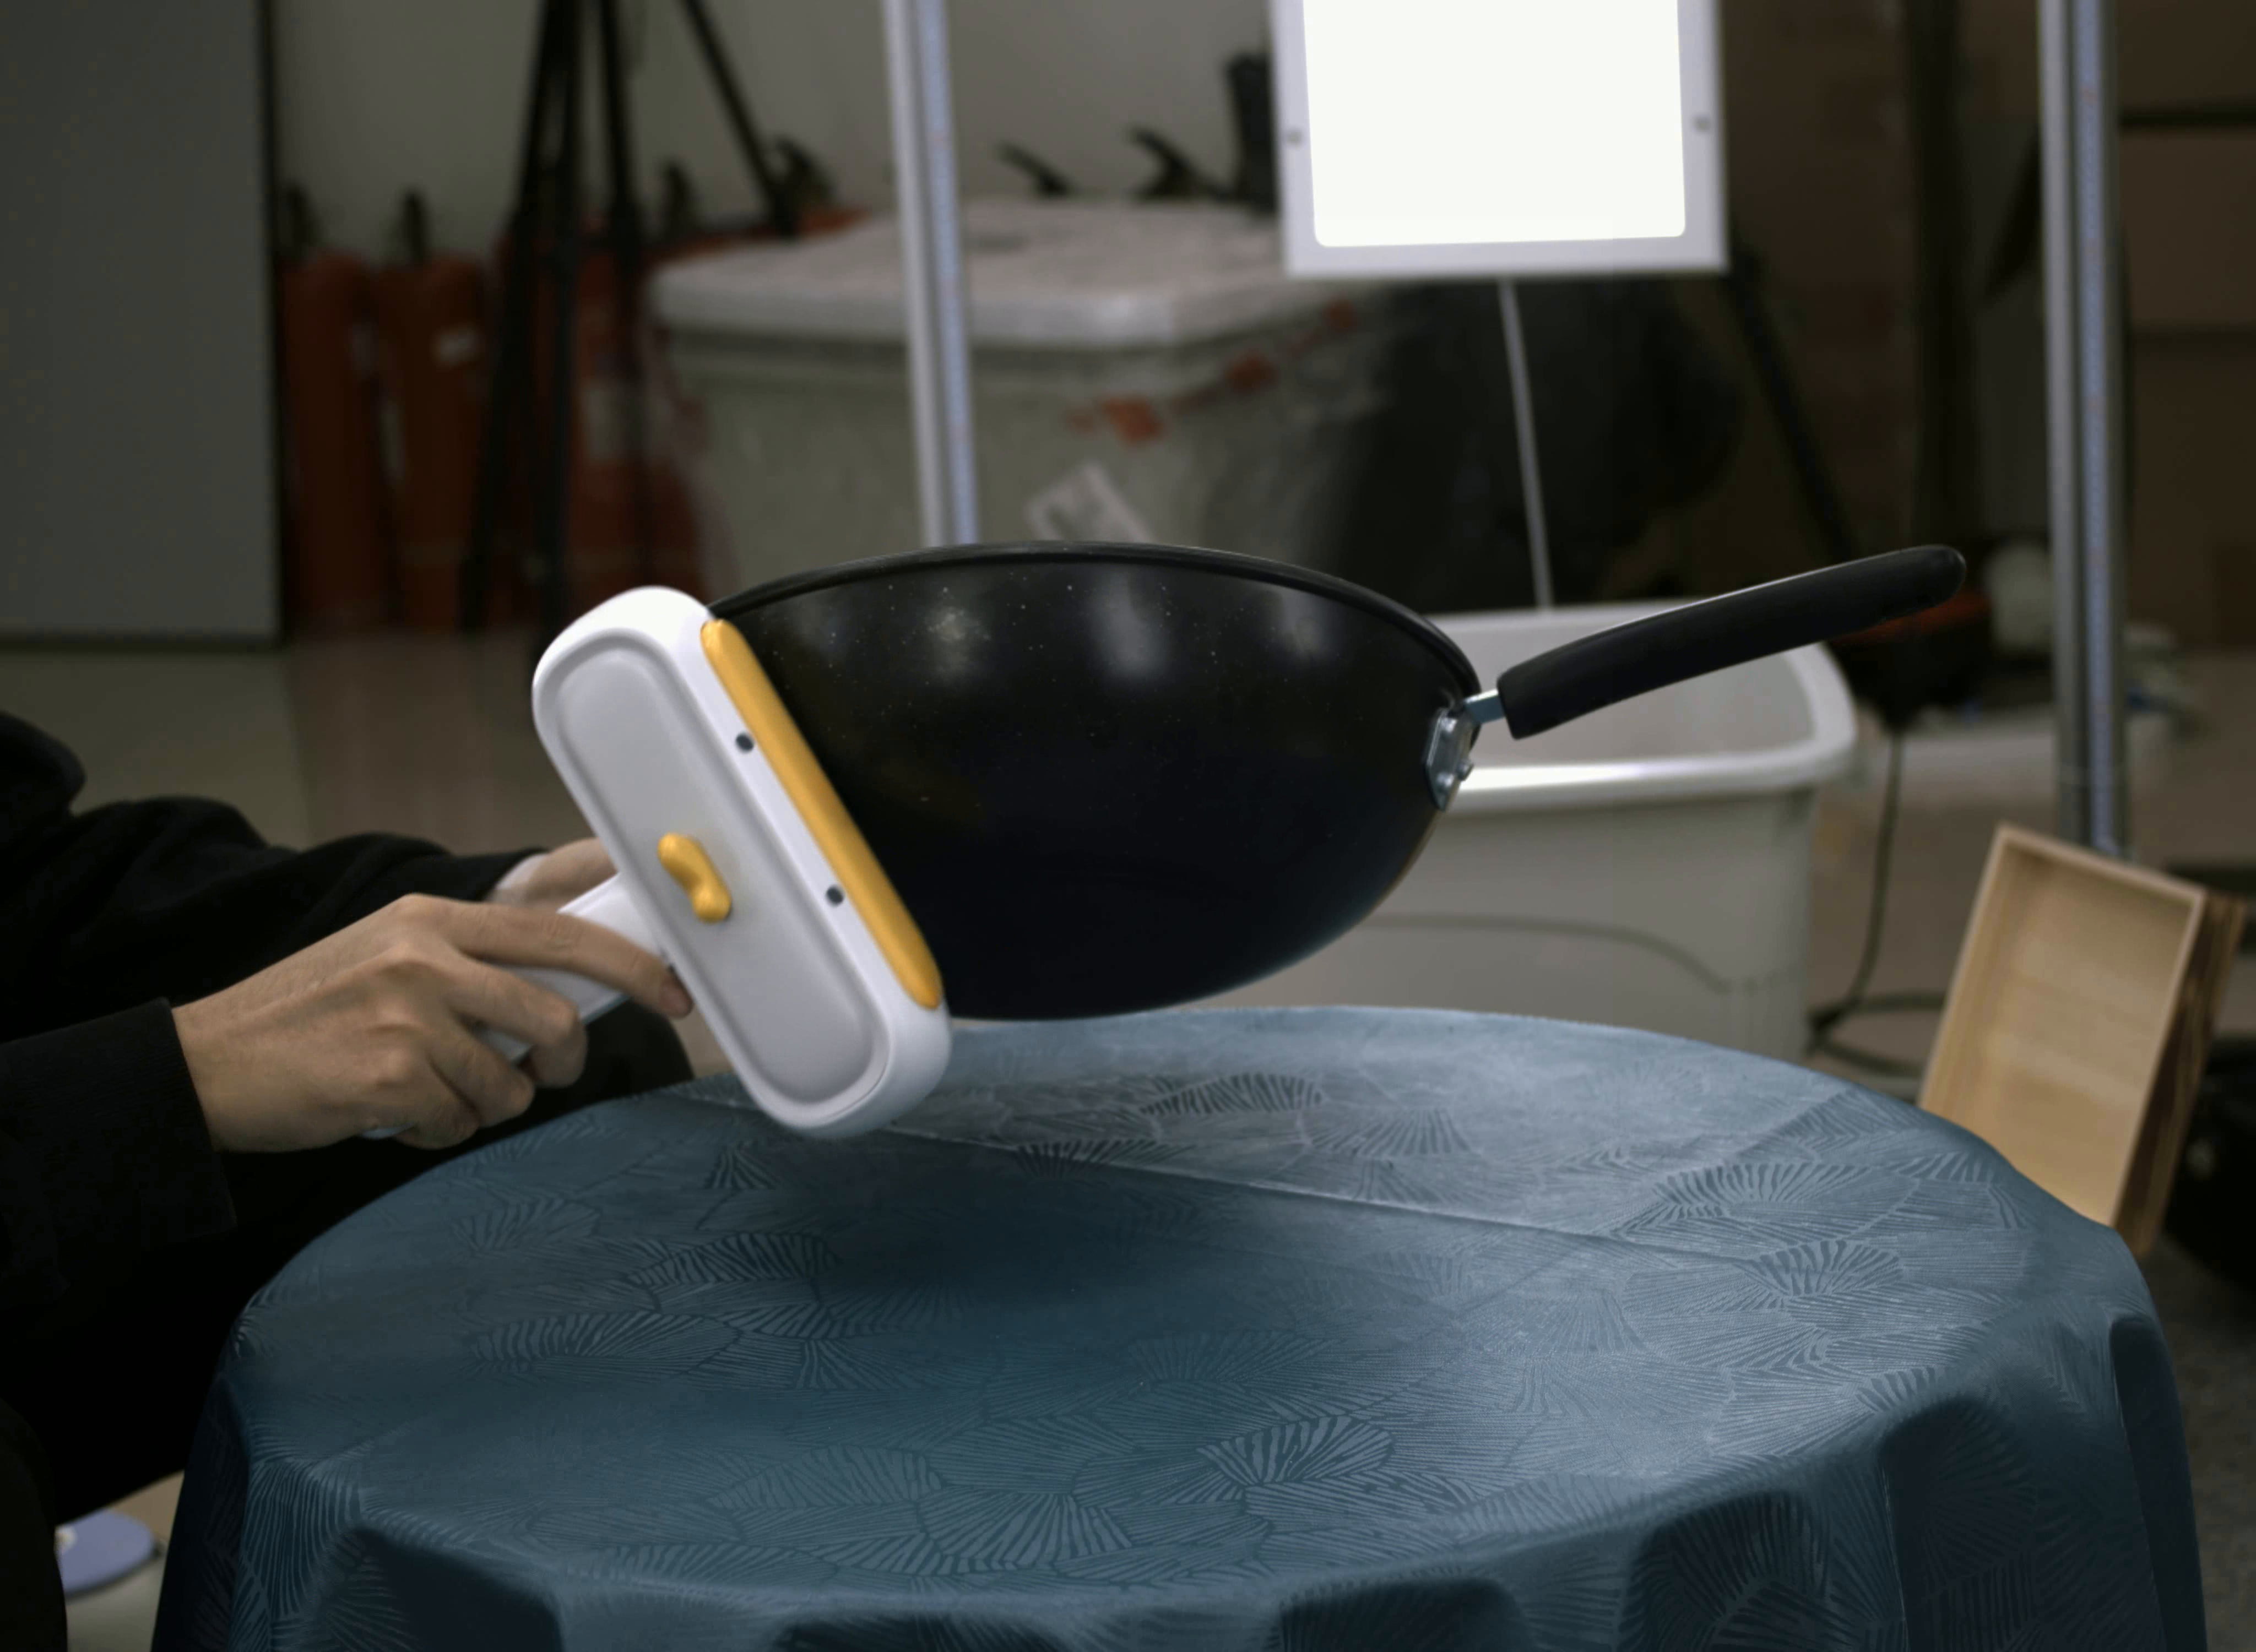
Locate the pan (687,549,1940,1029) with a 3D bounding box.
[{"bbox_3d":[0.044,-0.015,1.881,0.480,0.111,0.308,-6,-20,11],"label":"pan"}]

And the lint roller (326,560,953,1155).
[{"bbox_3d":[-0.176,0.038,1.794,0.194,0.193,0.073,-36,0,15],"label":"lint roller"}]
